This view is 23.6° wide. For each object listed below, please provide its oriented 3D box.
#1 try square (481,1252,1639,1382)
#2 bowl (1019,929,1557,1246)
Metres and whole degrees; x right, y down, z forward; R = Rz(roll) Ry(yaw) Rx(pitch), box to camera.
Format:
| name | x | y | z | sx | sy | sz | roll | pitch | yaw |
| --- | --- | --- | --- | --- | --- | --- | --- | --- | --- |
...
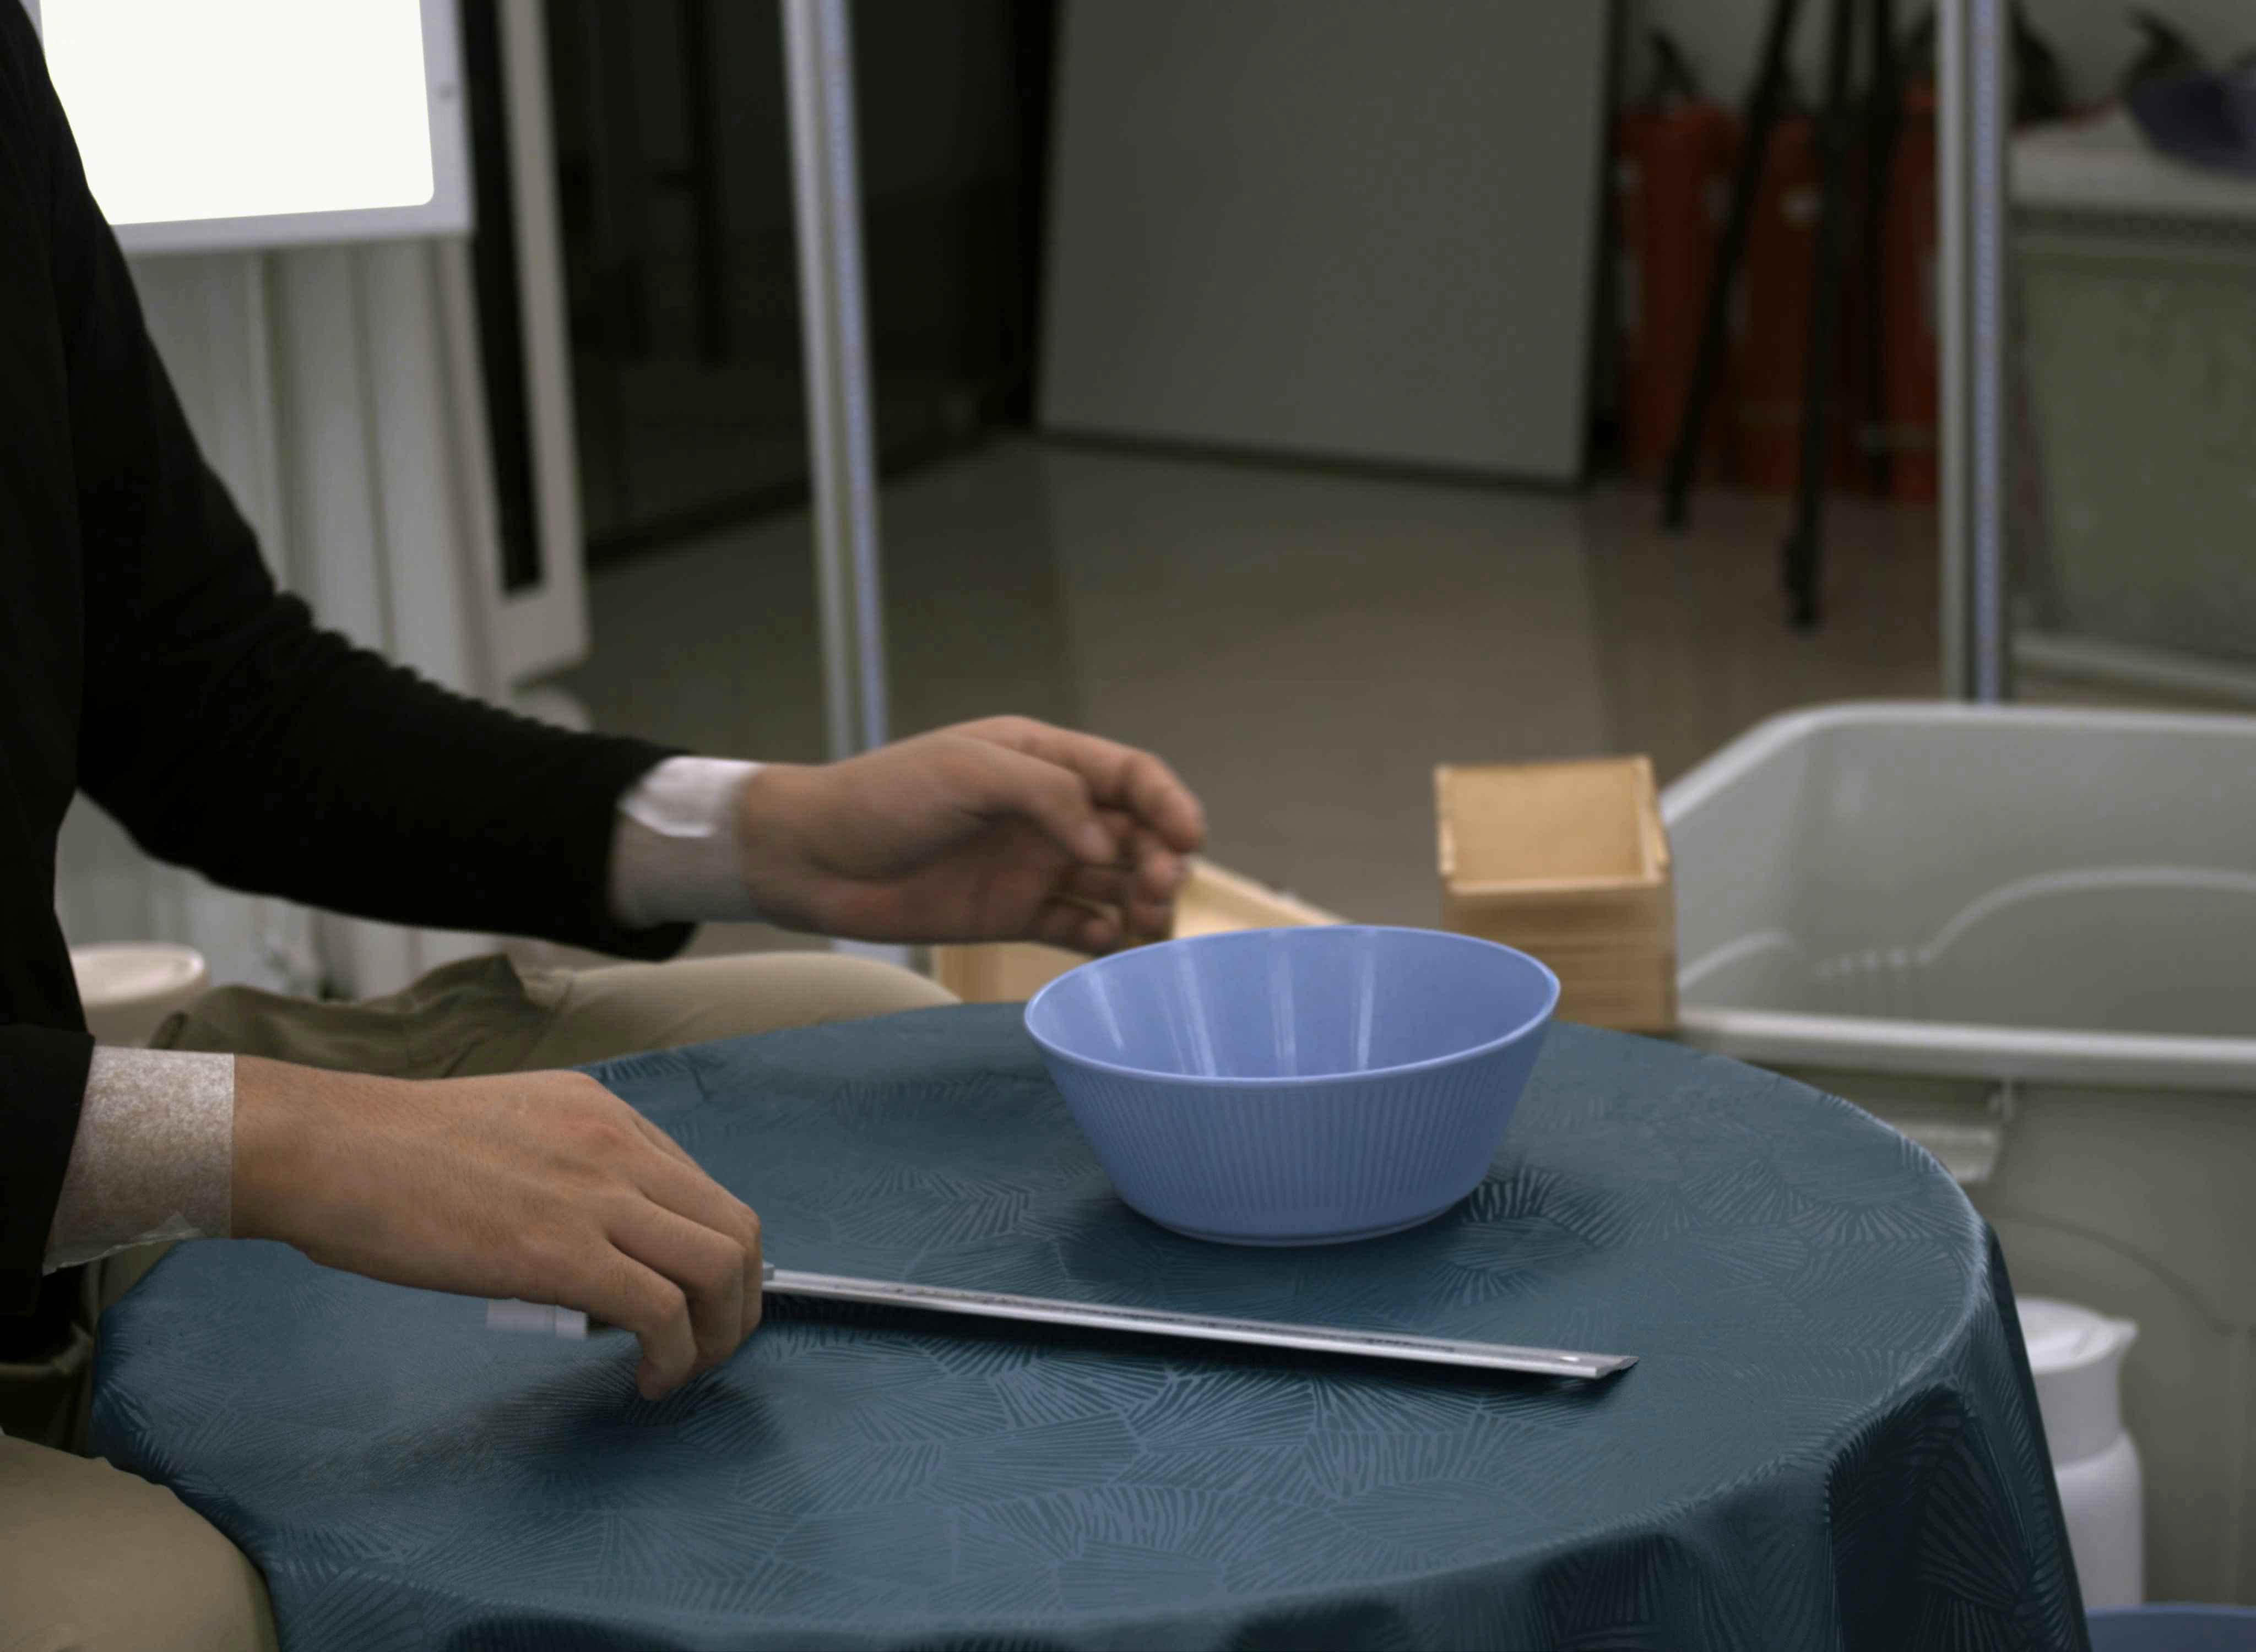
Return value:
| name | x | y | z | sx | sy | sz | roll | pitch | yaw |
| --- | --- | --- | --- | --- | --- | --- | --- | --- | --- |
| try square | -0.020 | 0.153 | 1.582 | 0.313 | 0.016 | 0.150 | 3 | 6 | 25 |
| bowl | 0.053 | 0.087 | 1.747 | 0.174 | 0.071 | 0.176 | -4 | 14 | 0 |
